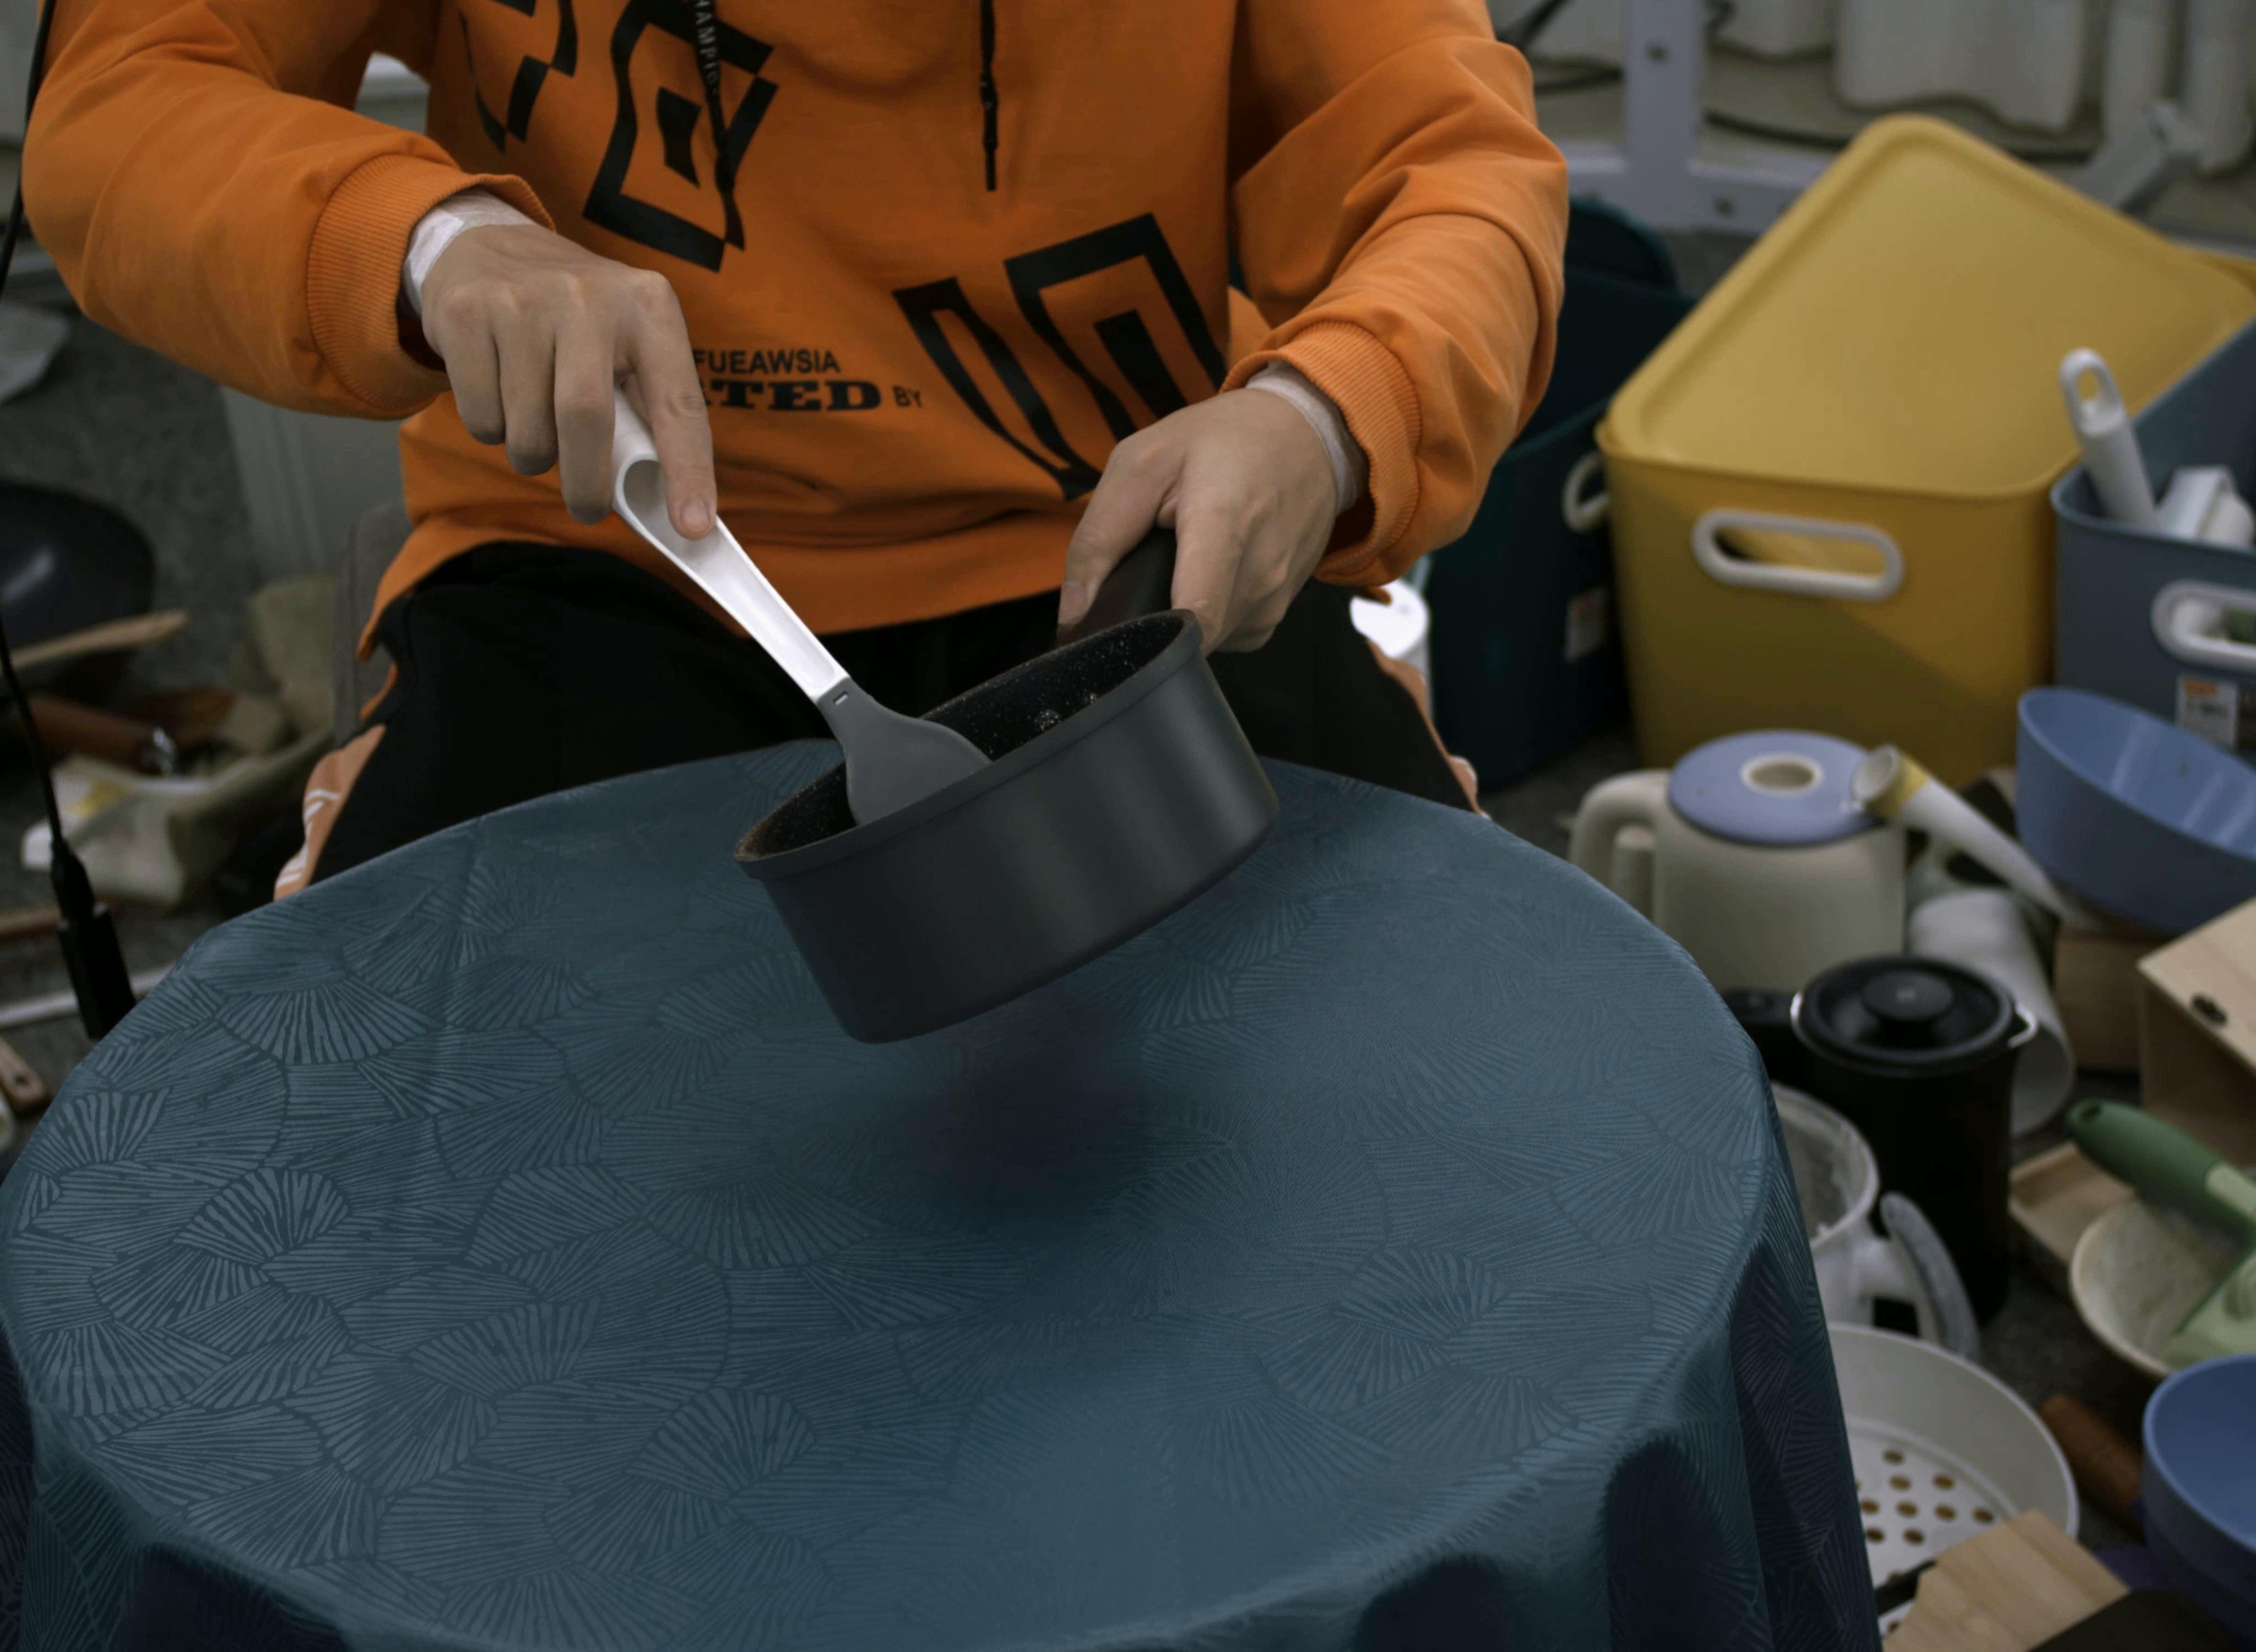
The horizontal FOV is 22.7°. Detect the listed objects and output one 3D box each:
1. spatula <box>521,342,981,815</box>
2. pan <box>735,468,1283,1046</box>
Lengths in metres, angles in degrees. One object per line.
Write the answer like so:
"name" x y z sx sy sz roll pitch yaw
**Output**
"spatula" -0.116 -0.064 1.929 0.059 0.032 0.289 -36 62 -12
"pan" -0.011 -0.029 1.918 0.170 0.086 0.334 -21 13 27
